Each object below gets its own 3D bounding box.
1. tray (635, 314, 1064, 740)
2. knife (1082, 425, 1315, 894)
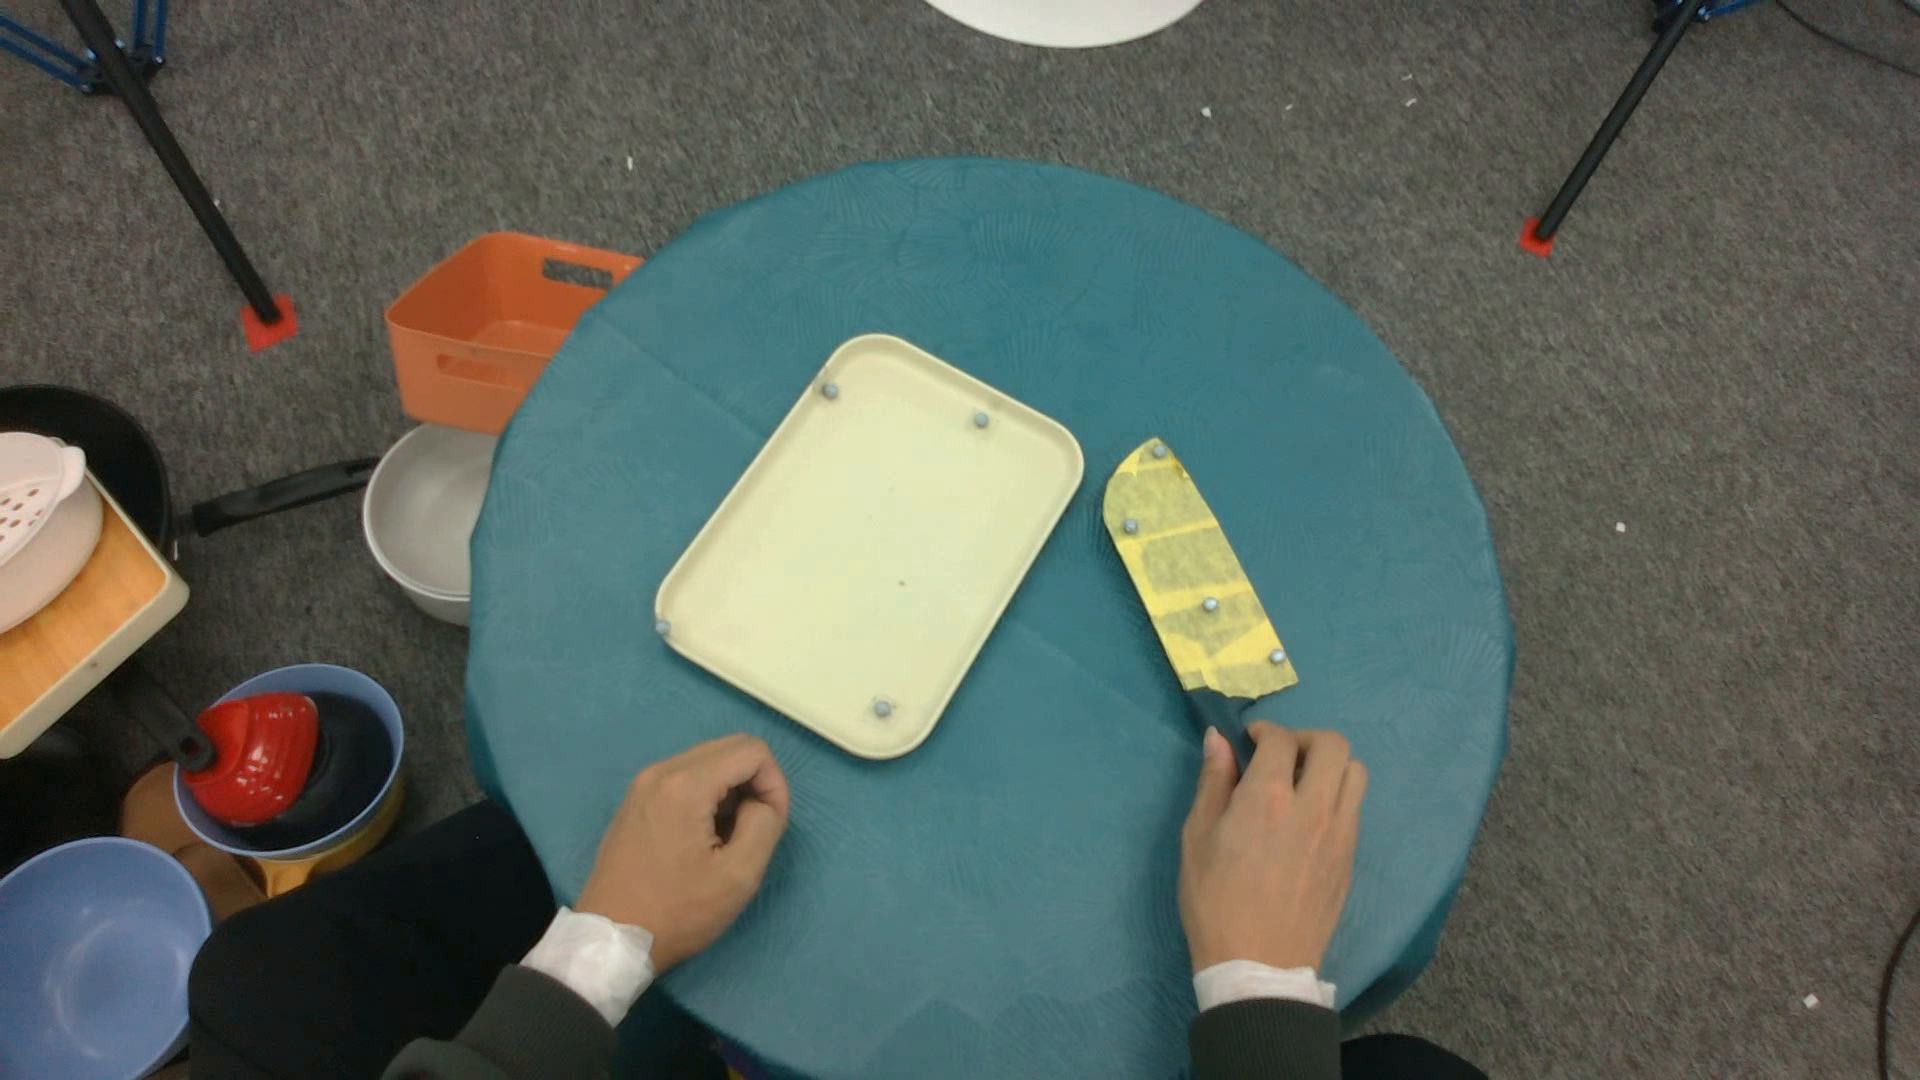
[{"bbox_3d":[-0.058,-0.013,0.787,0.171,0.017,0.240,29,64,7],"label":"tray"},{"bbox_3d":[0.140,0.056,0.780,0.081,0.027,0.290,-11,67,-22],"label":"knife"}]
